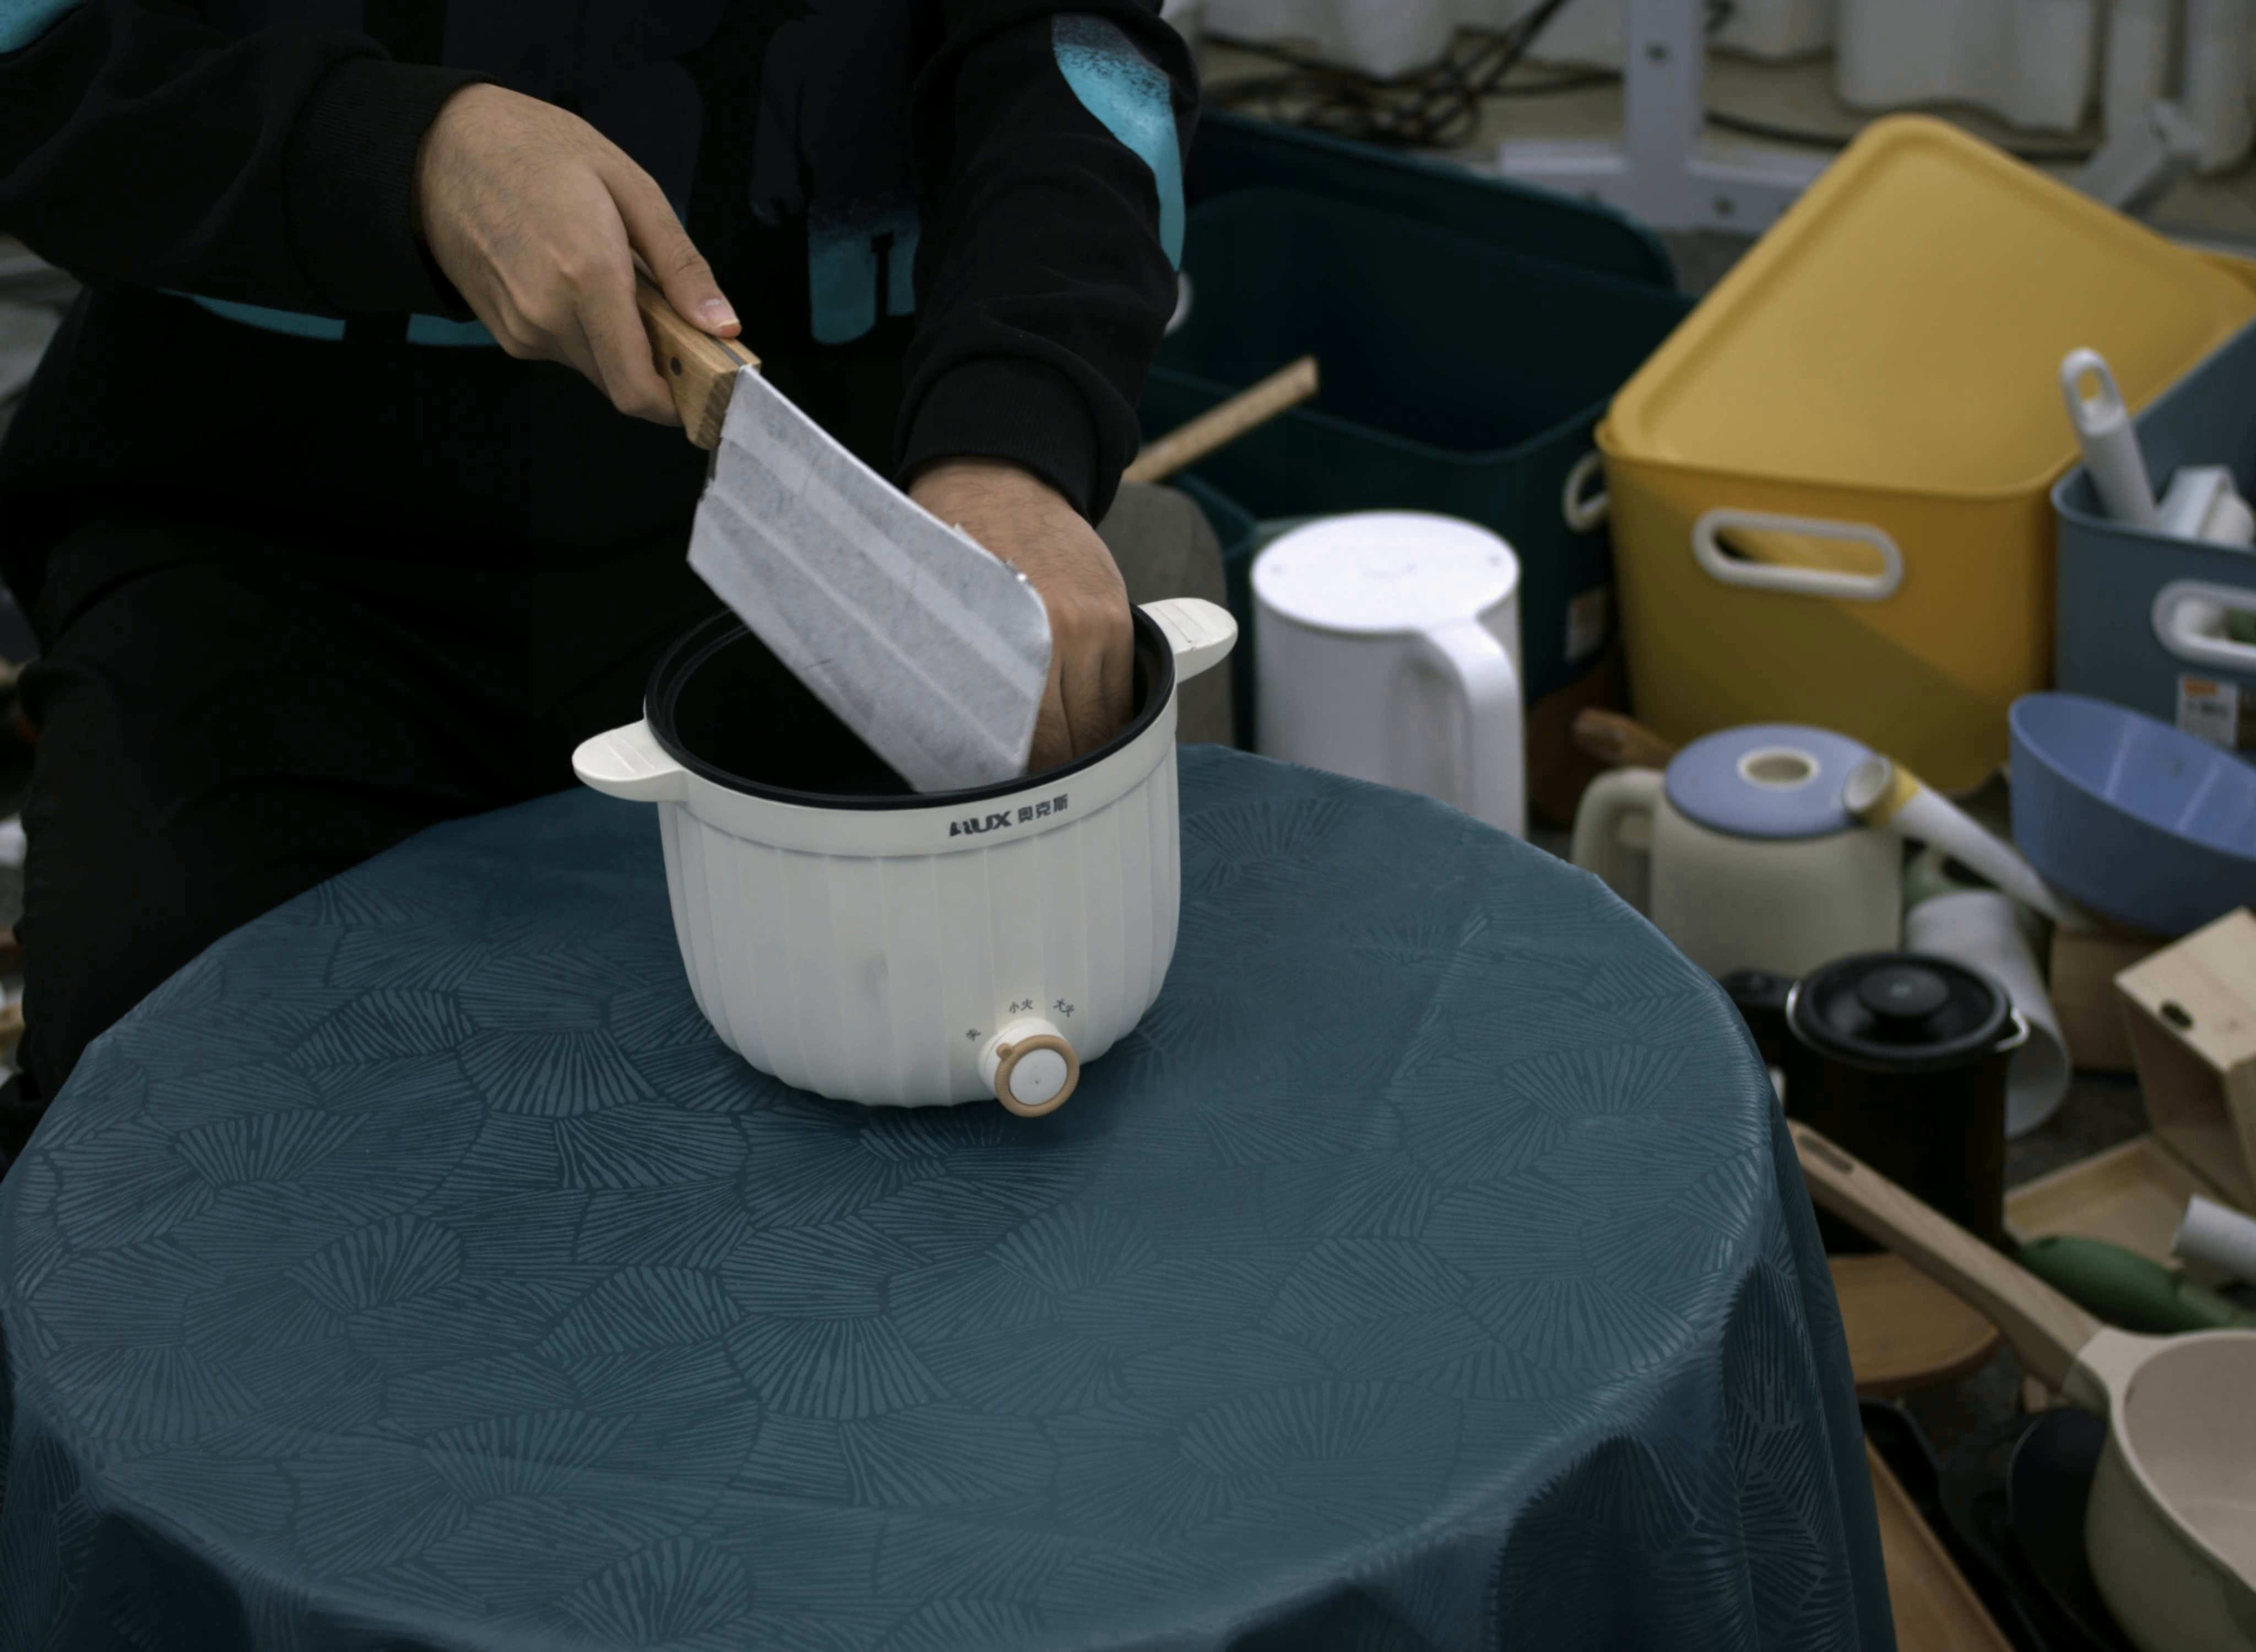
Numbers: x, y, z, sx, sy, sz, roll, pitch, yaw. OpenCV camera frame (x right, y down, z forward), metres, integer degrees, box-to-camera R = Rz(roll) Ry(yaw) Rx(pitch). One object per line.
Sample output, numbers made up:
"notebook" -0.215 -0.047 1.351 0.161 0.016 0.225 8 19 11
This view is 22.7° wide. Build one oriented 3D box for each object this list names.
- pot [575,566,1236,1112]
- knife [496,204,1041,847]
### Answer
"pot" -0.067 0.009 1.936 0.241 0.141 0.191 -15 26 -19
"knife" -0.124 -0.117 1.928 0.022 0.112 0.317 -12 46 -40
